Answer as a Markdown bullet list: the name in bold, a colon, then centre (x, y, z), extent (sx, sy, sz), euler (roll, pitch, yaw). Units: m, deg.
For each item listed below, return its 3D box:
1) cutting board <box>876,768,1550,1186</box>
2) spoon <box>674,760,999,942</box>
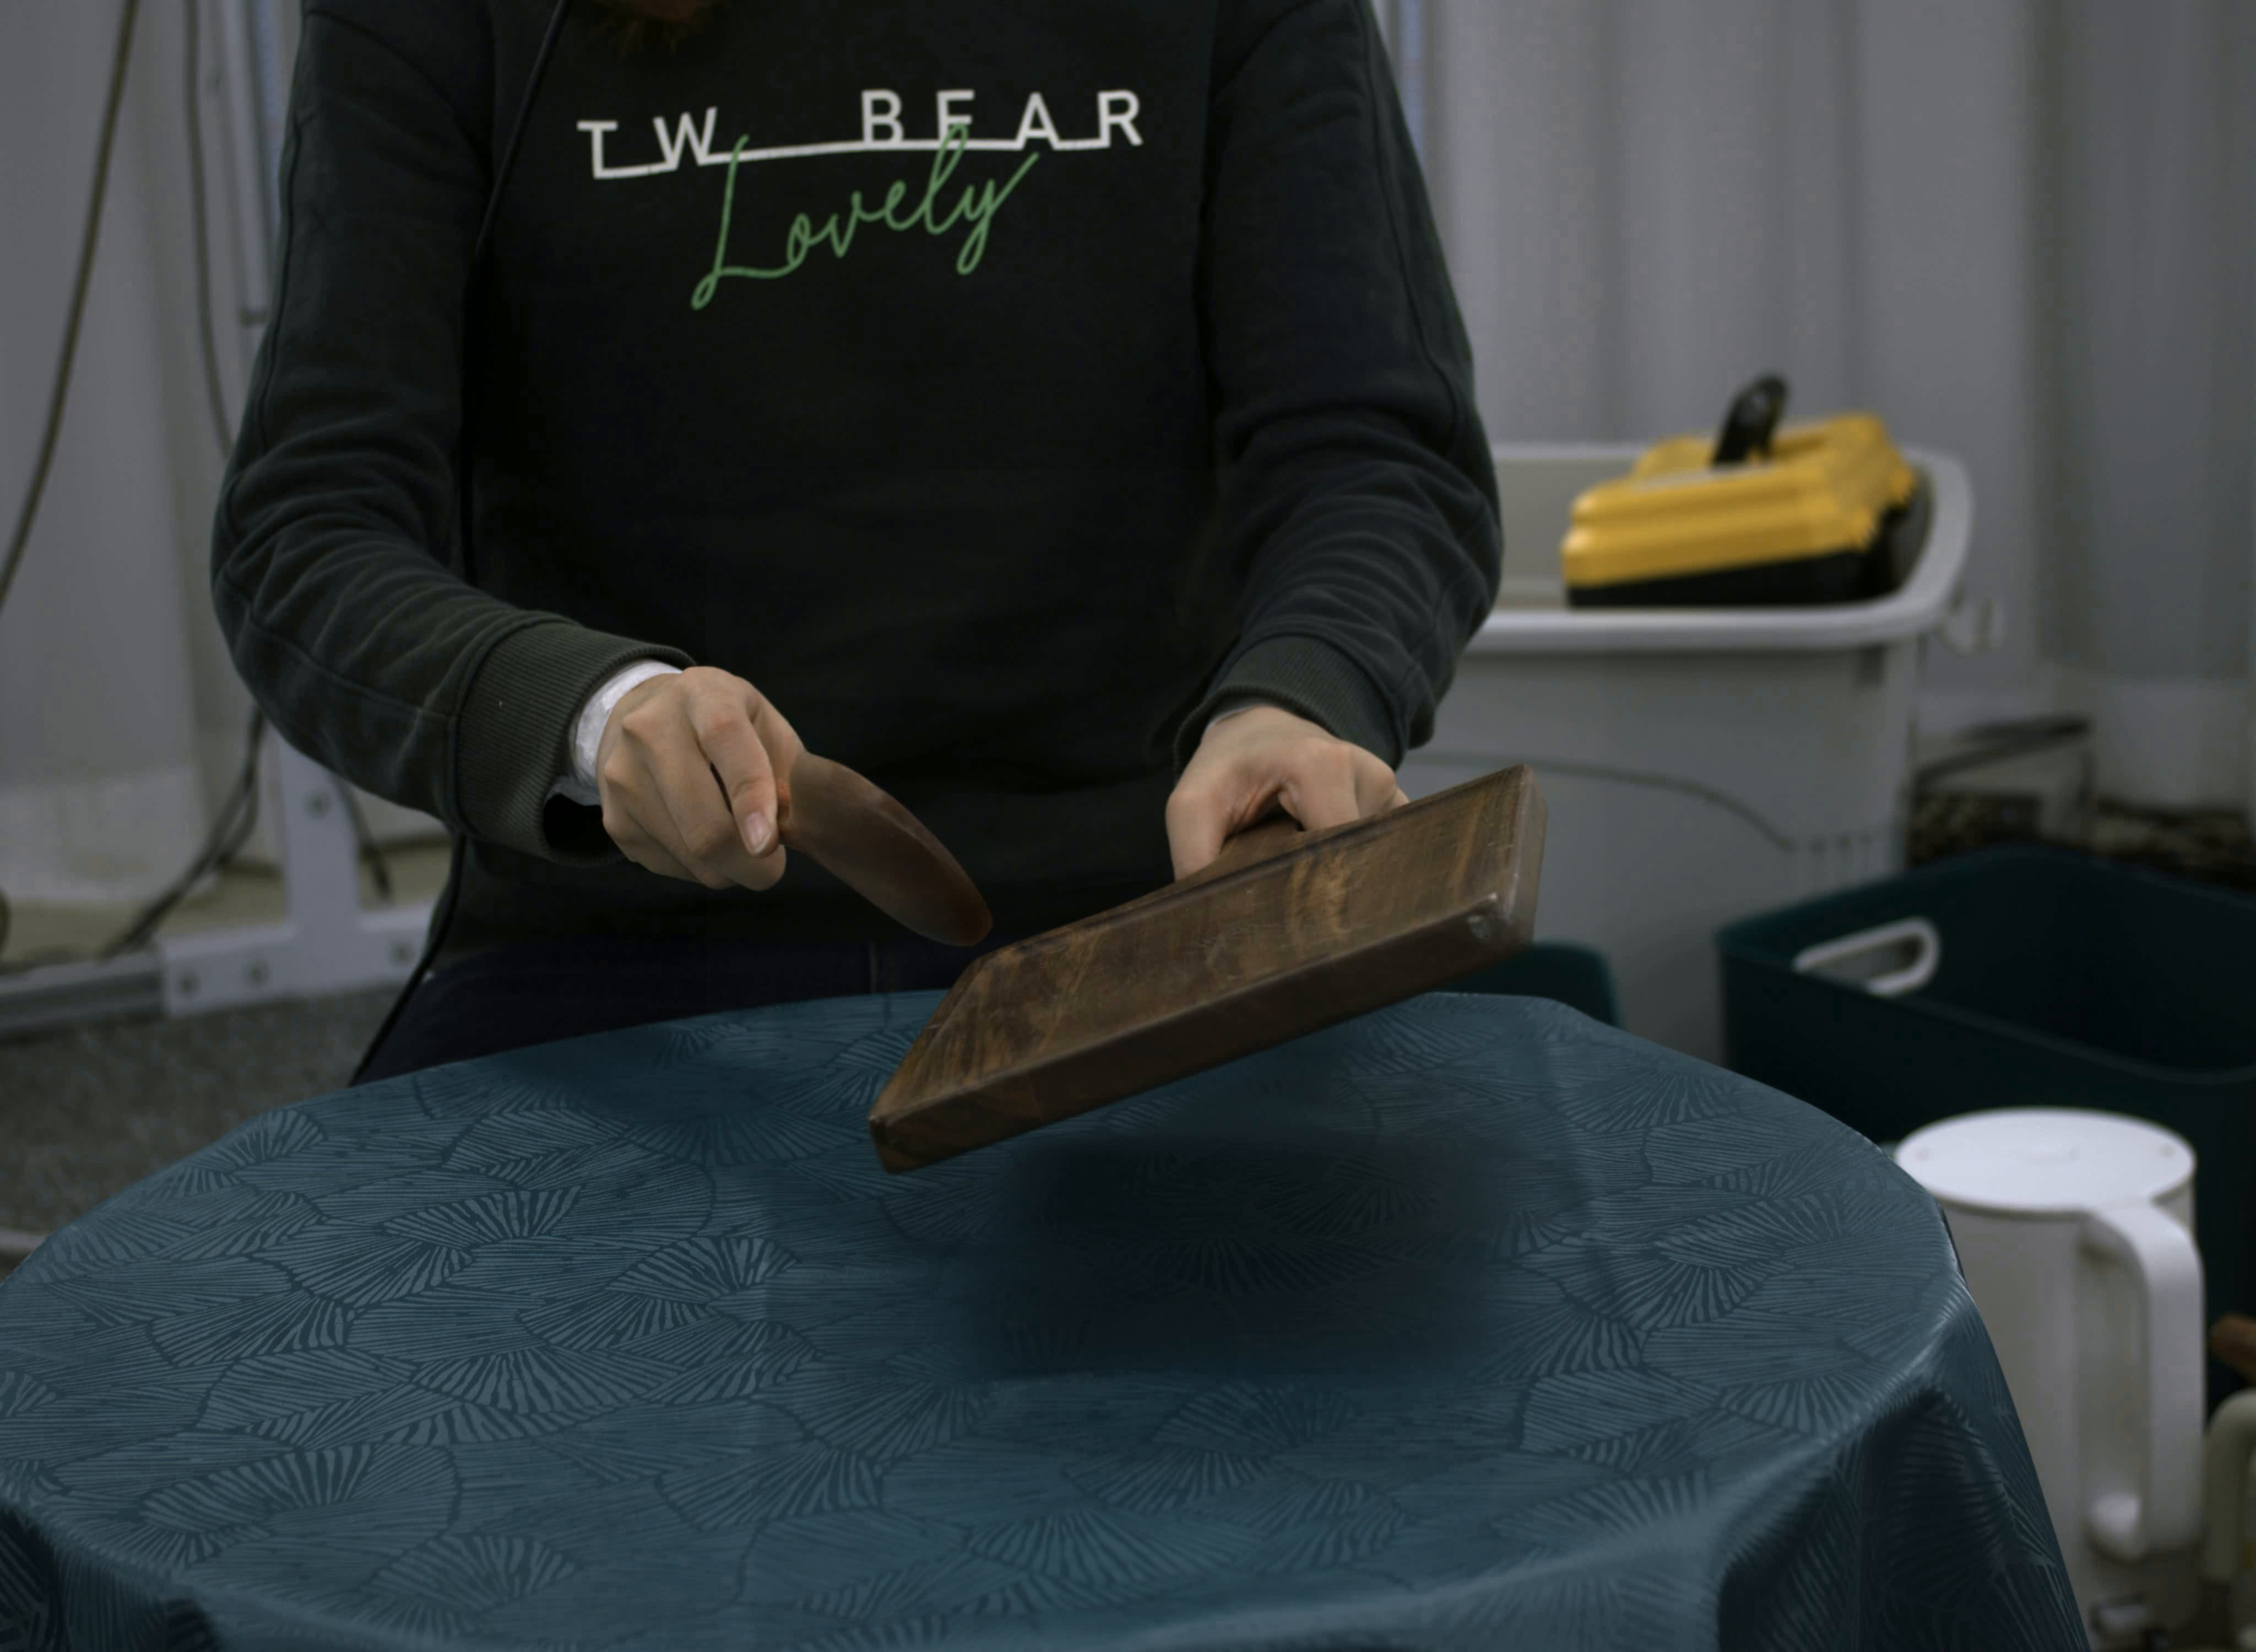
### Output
- **cutting board**: centre (0.036, 0.034, 1.689), extent (0.200, 0.023, 0.353), euler (-21, 6, 8)
- **spoon**: centre (-0.098, 0.003, 1.701), extent (0.017, 0.075, 0.217), euler (-48, 22, -11)
